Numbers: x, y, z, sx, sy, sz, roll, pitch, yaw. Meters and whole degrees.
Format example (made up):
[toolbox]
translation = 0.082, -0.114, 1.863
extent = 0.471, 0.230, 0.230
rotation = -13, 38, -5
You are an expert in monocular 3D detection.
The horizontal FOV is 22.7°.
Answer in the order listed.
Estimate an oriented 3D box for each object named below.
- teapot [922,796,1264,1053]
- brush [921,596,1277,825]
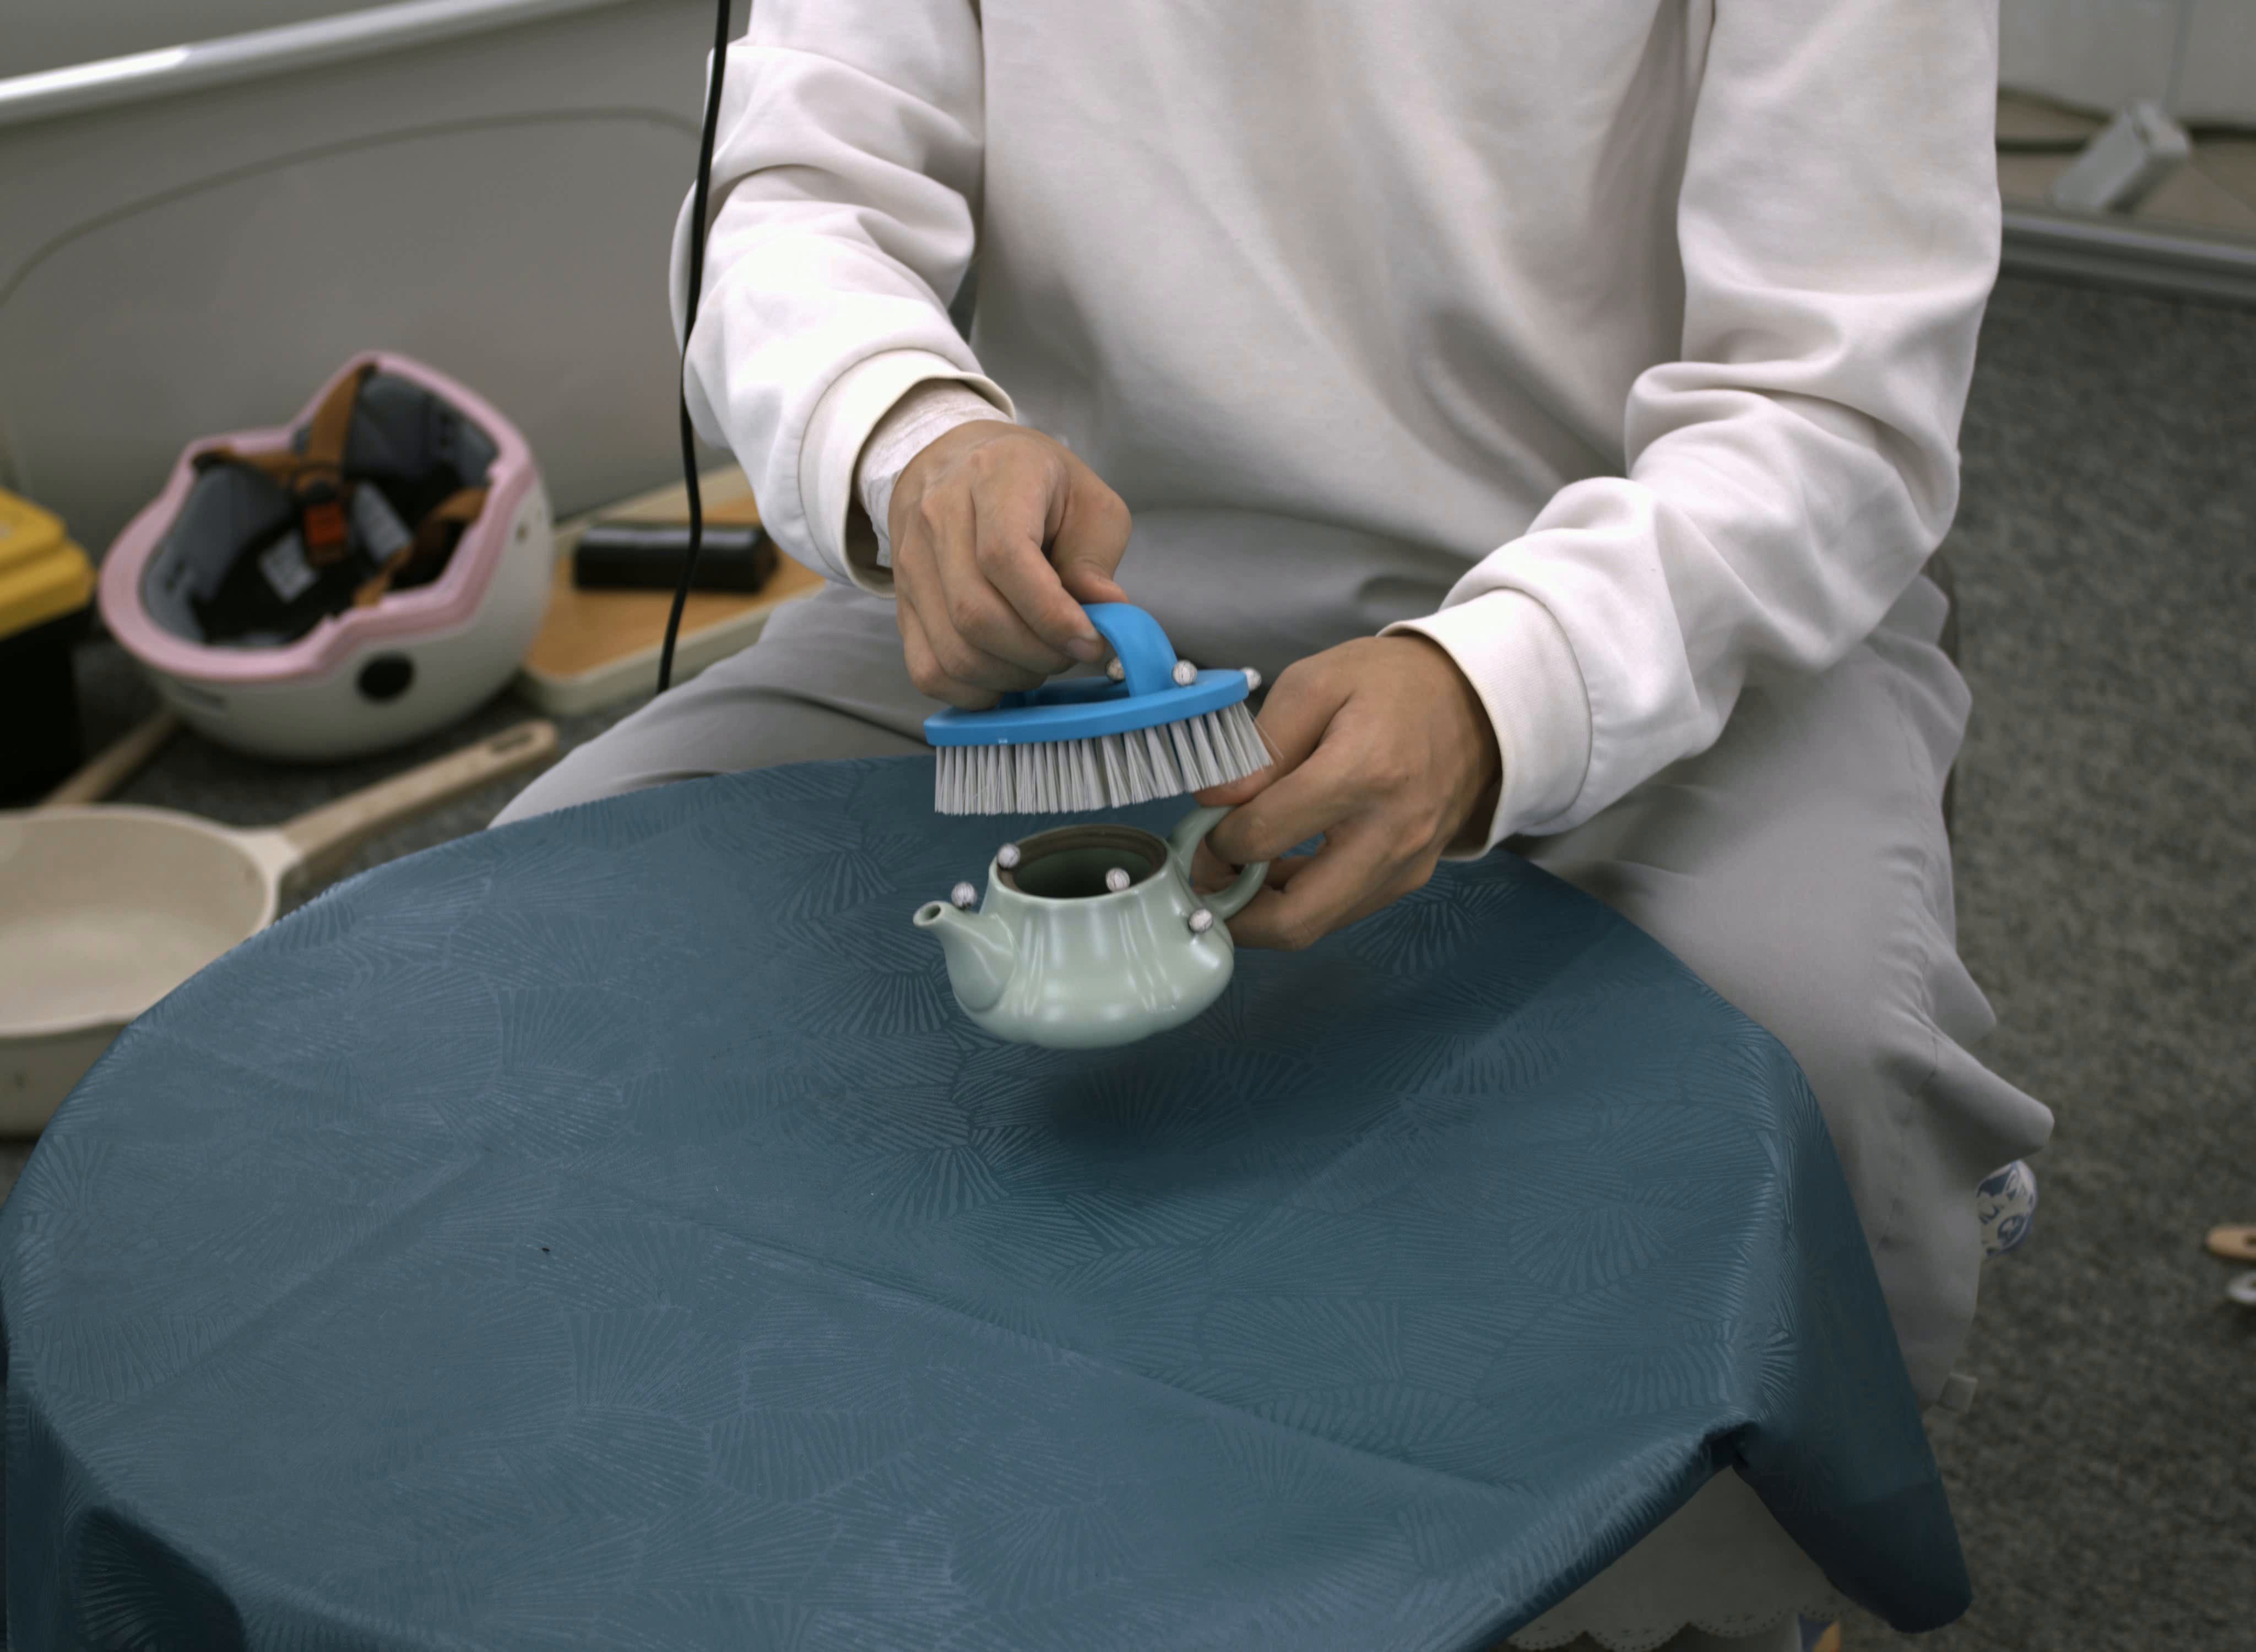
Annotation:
[teapot]
translation = -0.009, 0.036, 1.896
extent = 0.138, 0.061, 0.096
rotation = -22, 26, -29
[brush]
translation = -0.016, -0.044, 1.903
extent = 0.085, 0.064, 0.140
rotation = -25, 11, -37
